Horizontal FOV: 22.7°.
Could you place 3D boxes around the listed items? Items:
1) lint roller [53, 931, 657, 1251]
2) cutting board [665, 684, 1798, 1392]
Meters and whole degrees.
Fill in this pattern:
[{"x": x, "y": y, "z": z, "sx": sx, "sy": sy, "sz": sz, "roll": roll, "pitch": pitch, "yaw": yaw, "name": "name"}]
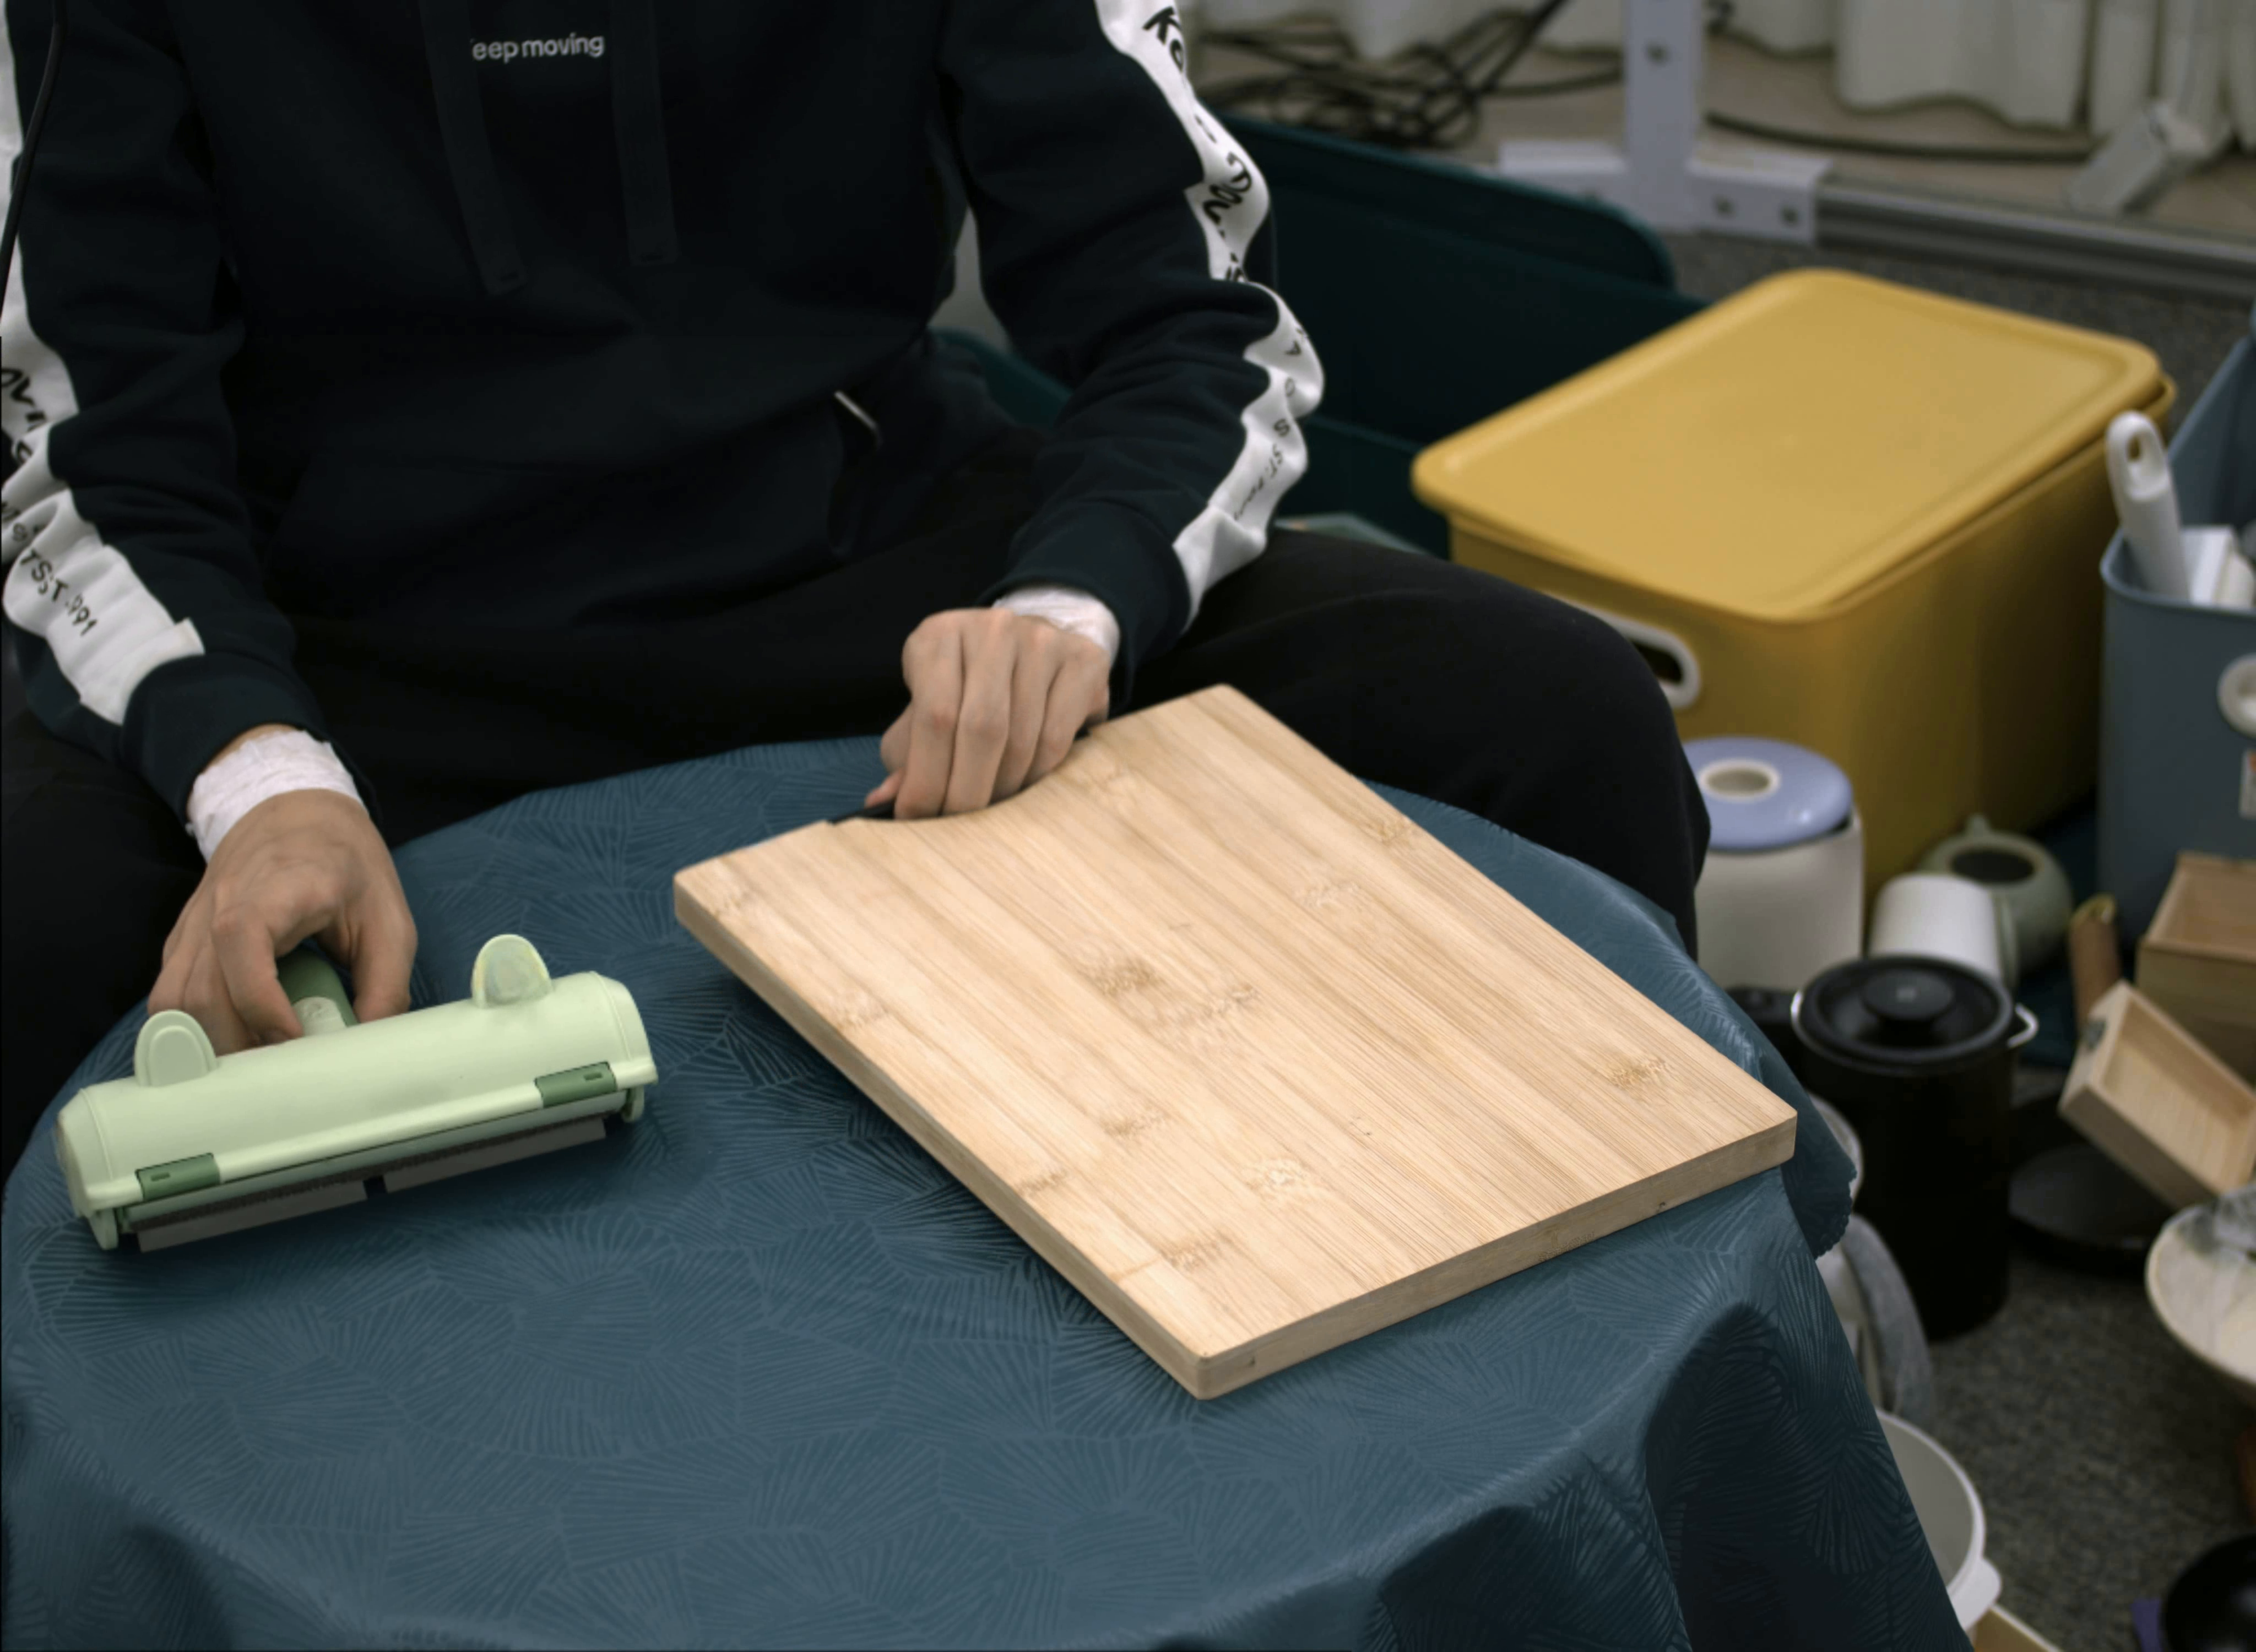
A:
[{"x": -0.278, "y": 0.063, "z": 1.918, "sx": 0.199, "sy": 0.081, "sz": 0.185, "roll": -13, "pitch": 33, "yaw": -18, "name": "lint roller"}, {"x": 0.028, "y": 0.064, "z": 1.926, "sx": 0.252, "sy": 0.023, "sz": 0.350, "roll": -19, "pitch": 36, "yaw": -29, "name": "cutting board"}]
